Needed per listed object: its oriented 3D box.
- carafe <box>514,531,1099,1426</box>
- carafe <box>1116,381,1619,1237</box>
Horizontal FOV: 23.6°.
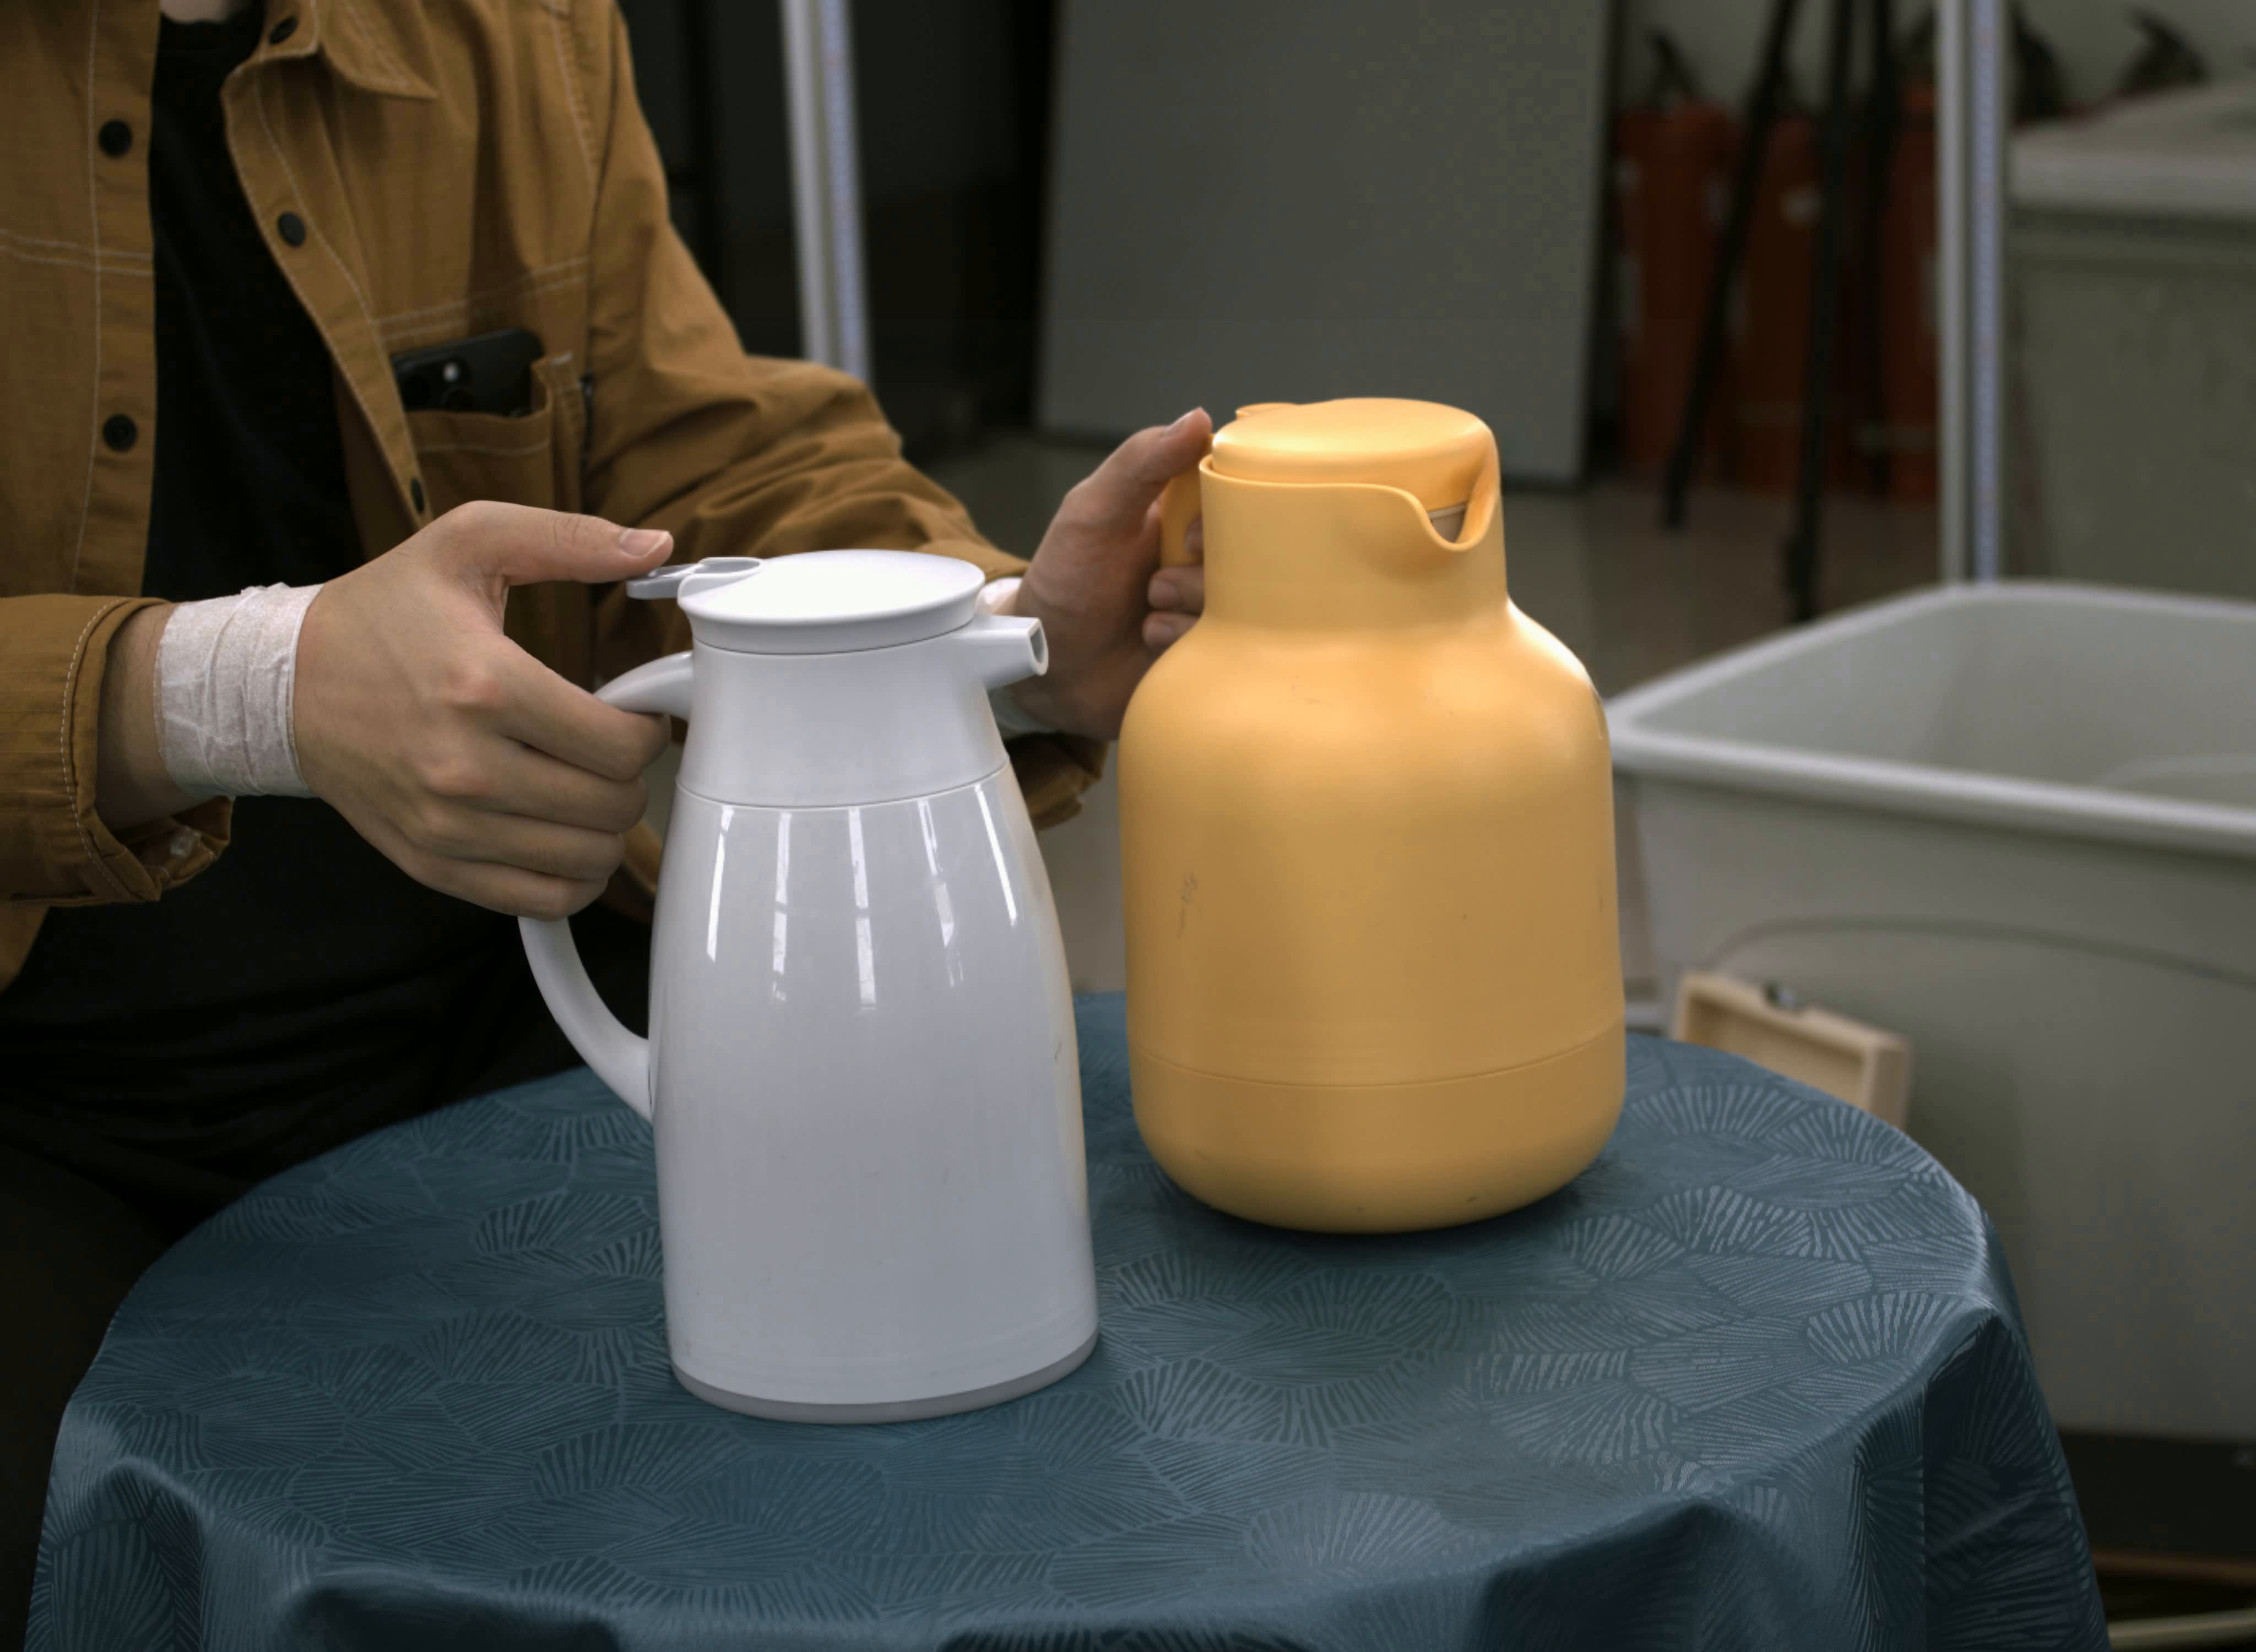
[{"bbox_3d":[-0.100,0.040,1.614,0.167,0.251,0.132,-2,13,13],"label":"carafe"},{"bbox_3d":[0.069,-0.013,1.752,0.160,0.263,0.204,-7,15,-21],"label":"carafe"}]
